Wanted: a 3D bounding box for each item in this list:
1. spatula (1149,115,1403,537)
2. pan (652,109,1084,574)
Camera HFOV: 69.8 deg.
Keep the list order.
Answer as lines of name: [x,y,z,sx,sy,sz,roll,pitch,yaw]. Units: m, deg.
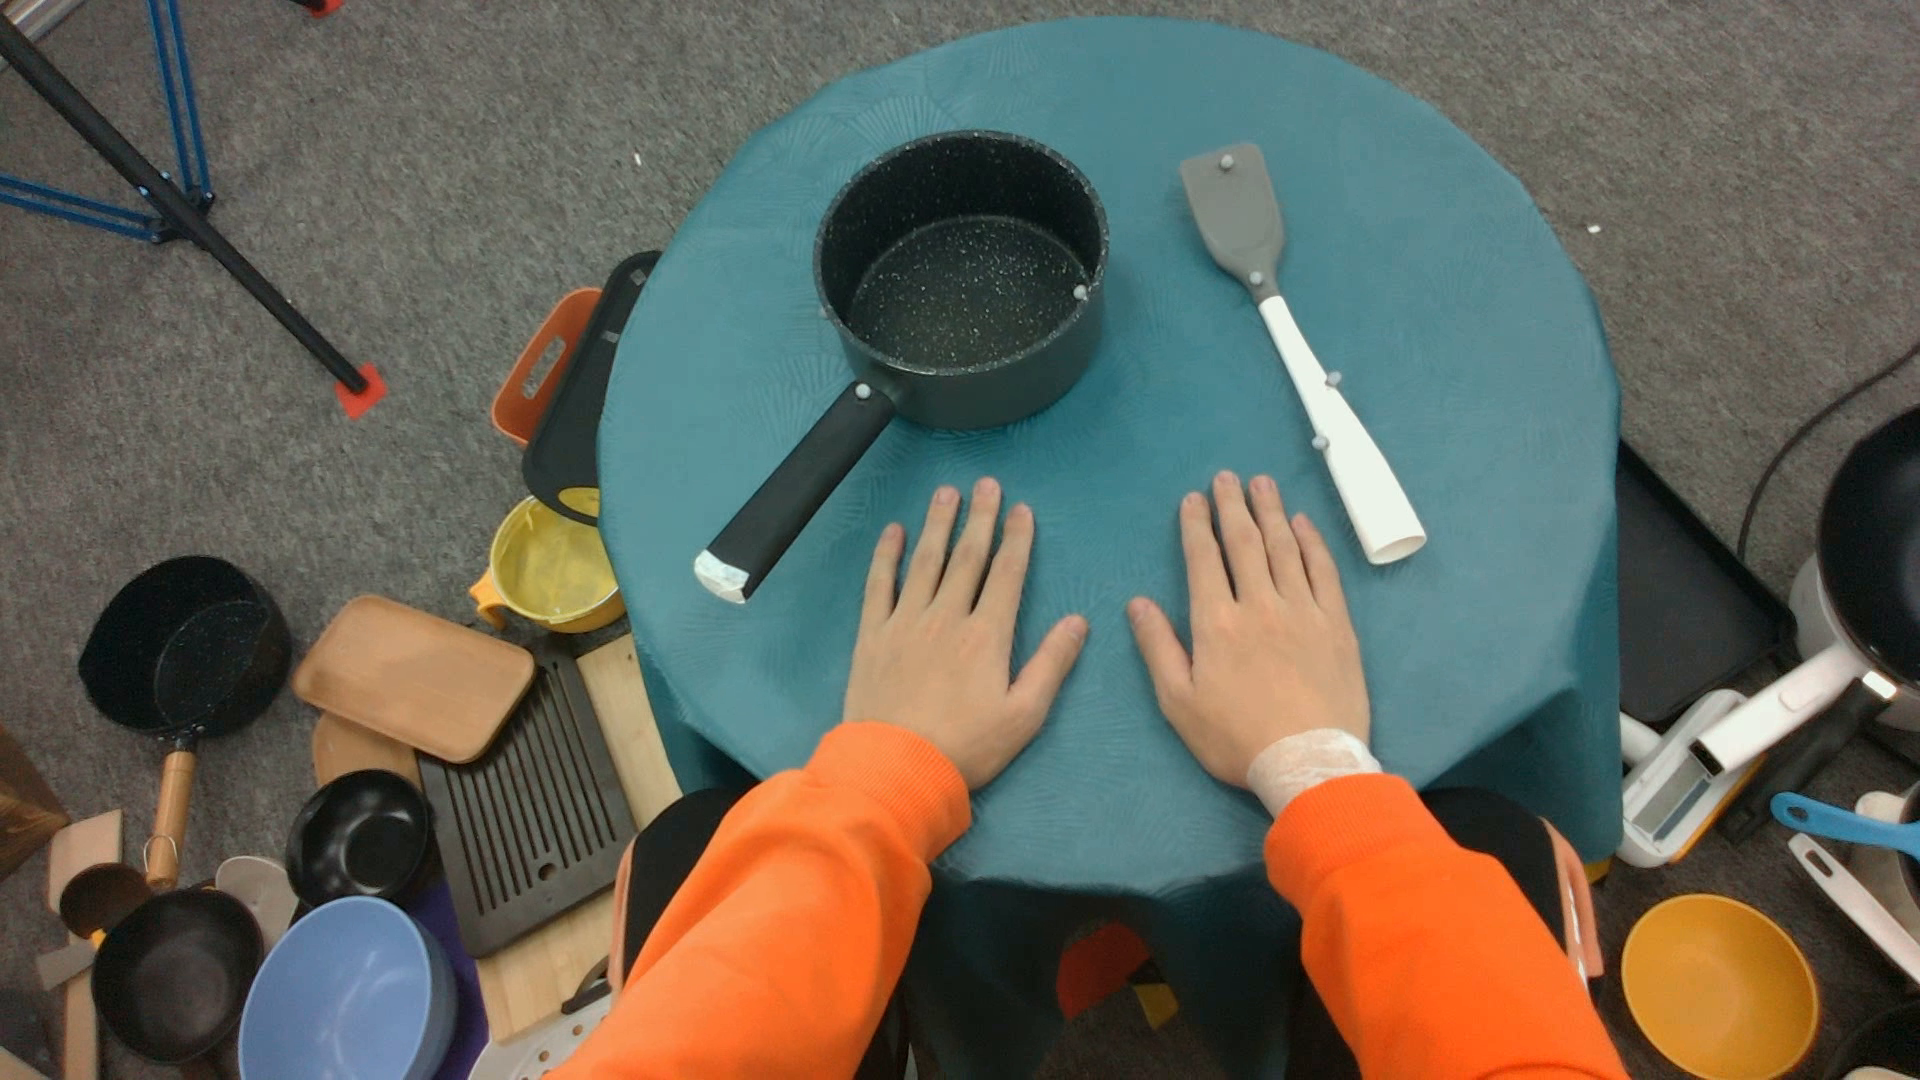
spatula: [0.183,-0.133,0.805,0.058,0.032,0.288,-19,65,1]
pan: [-0.054,-0.102,0.788,0.172,0.086,0.330,28,69,19]
